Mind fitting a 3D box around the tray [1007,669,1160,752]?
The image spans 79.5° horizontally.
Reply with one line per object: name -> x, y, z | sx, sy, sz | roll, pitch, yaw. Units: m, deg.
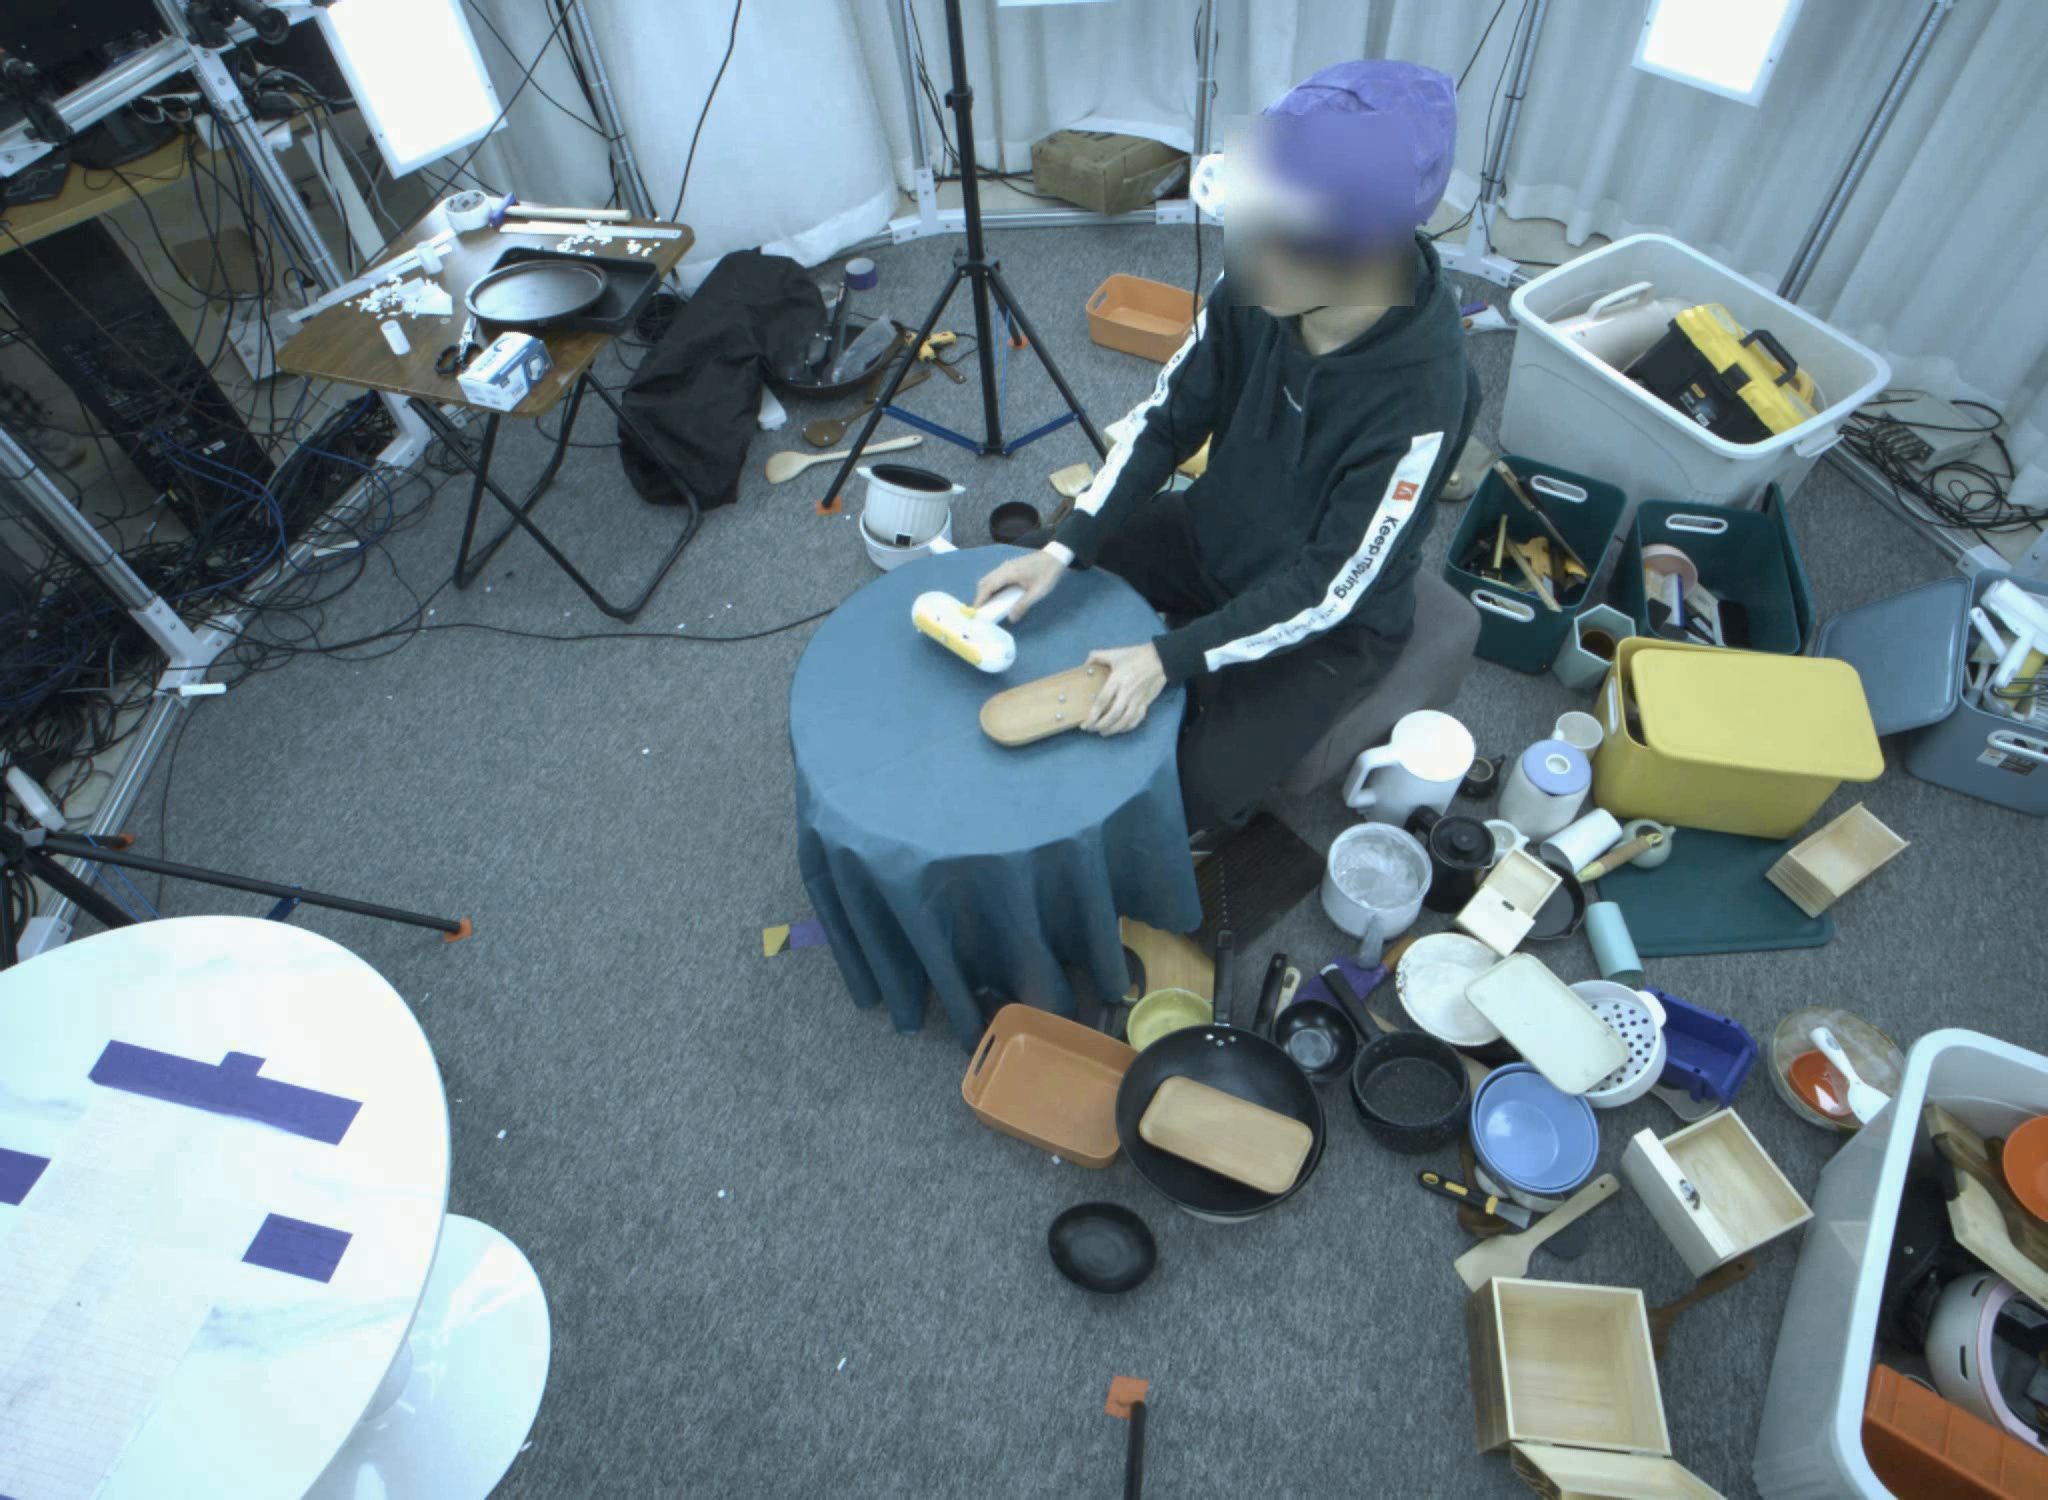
tray -> 0.088, -0.058, 1.797 | 0.233, 0.020, 0.100 | -18, 51, -11

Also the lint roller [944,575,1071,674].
lint roller -> -0.001, -0.206, 1.871 | 0.189, 0.075, 0.194 | 30, 45, 31
